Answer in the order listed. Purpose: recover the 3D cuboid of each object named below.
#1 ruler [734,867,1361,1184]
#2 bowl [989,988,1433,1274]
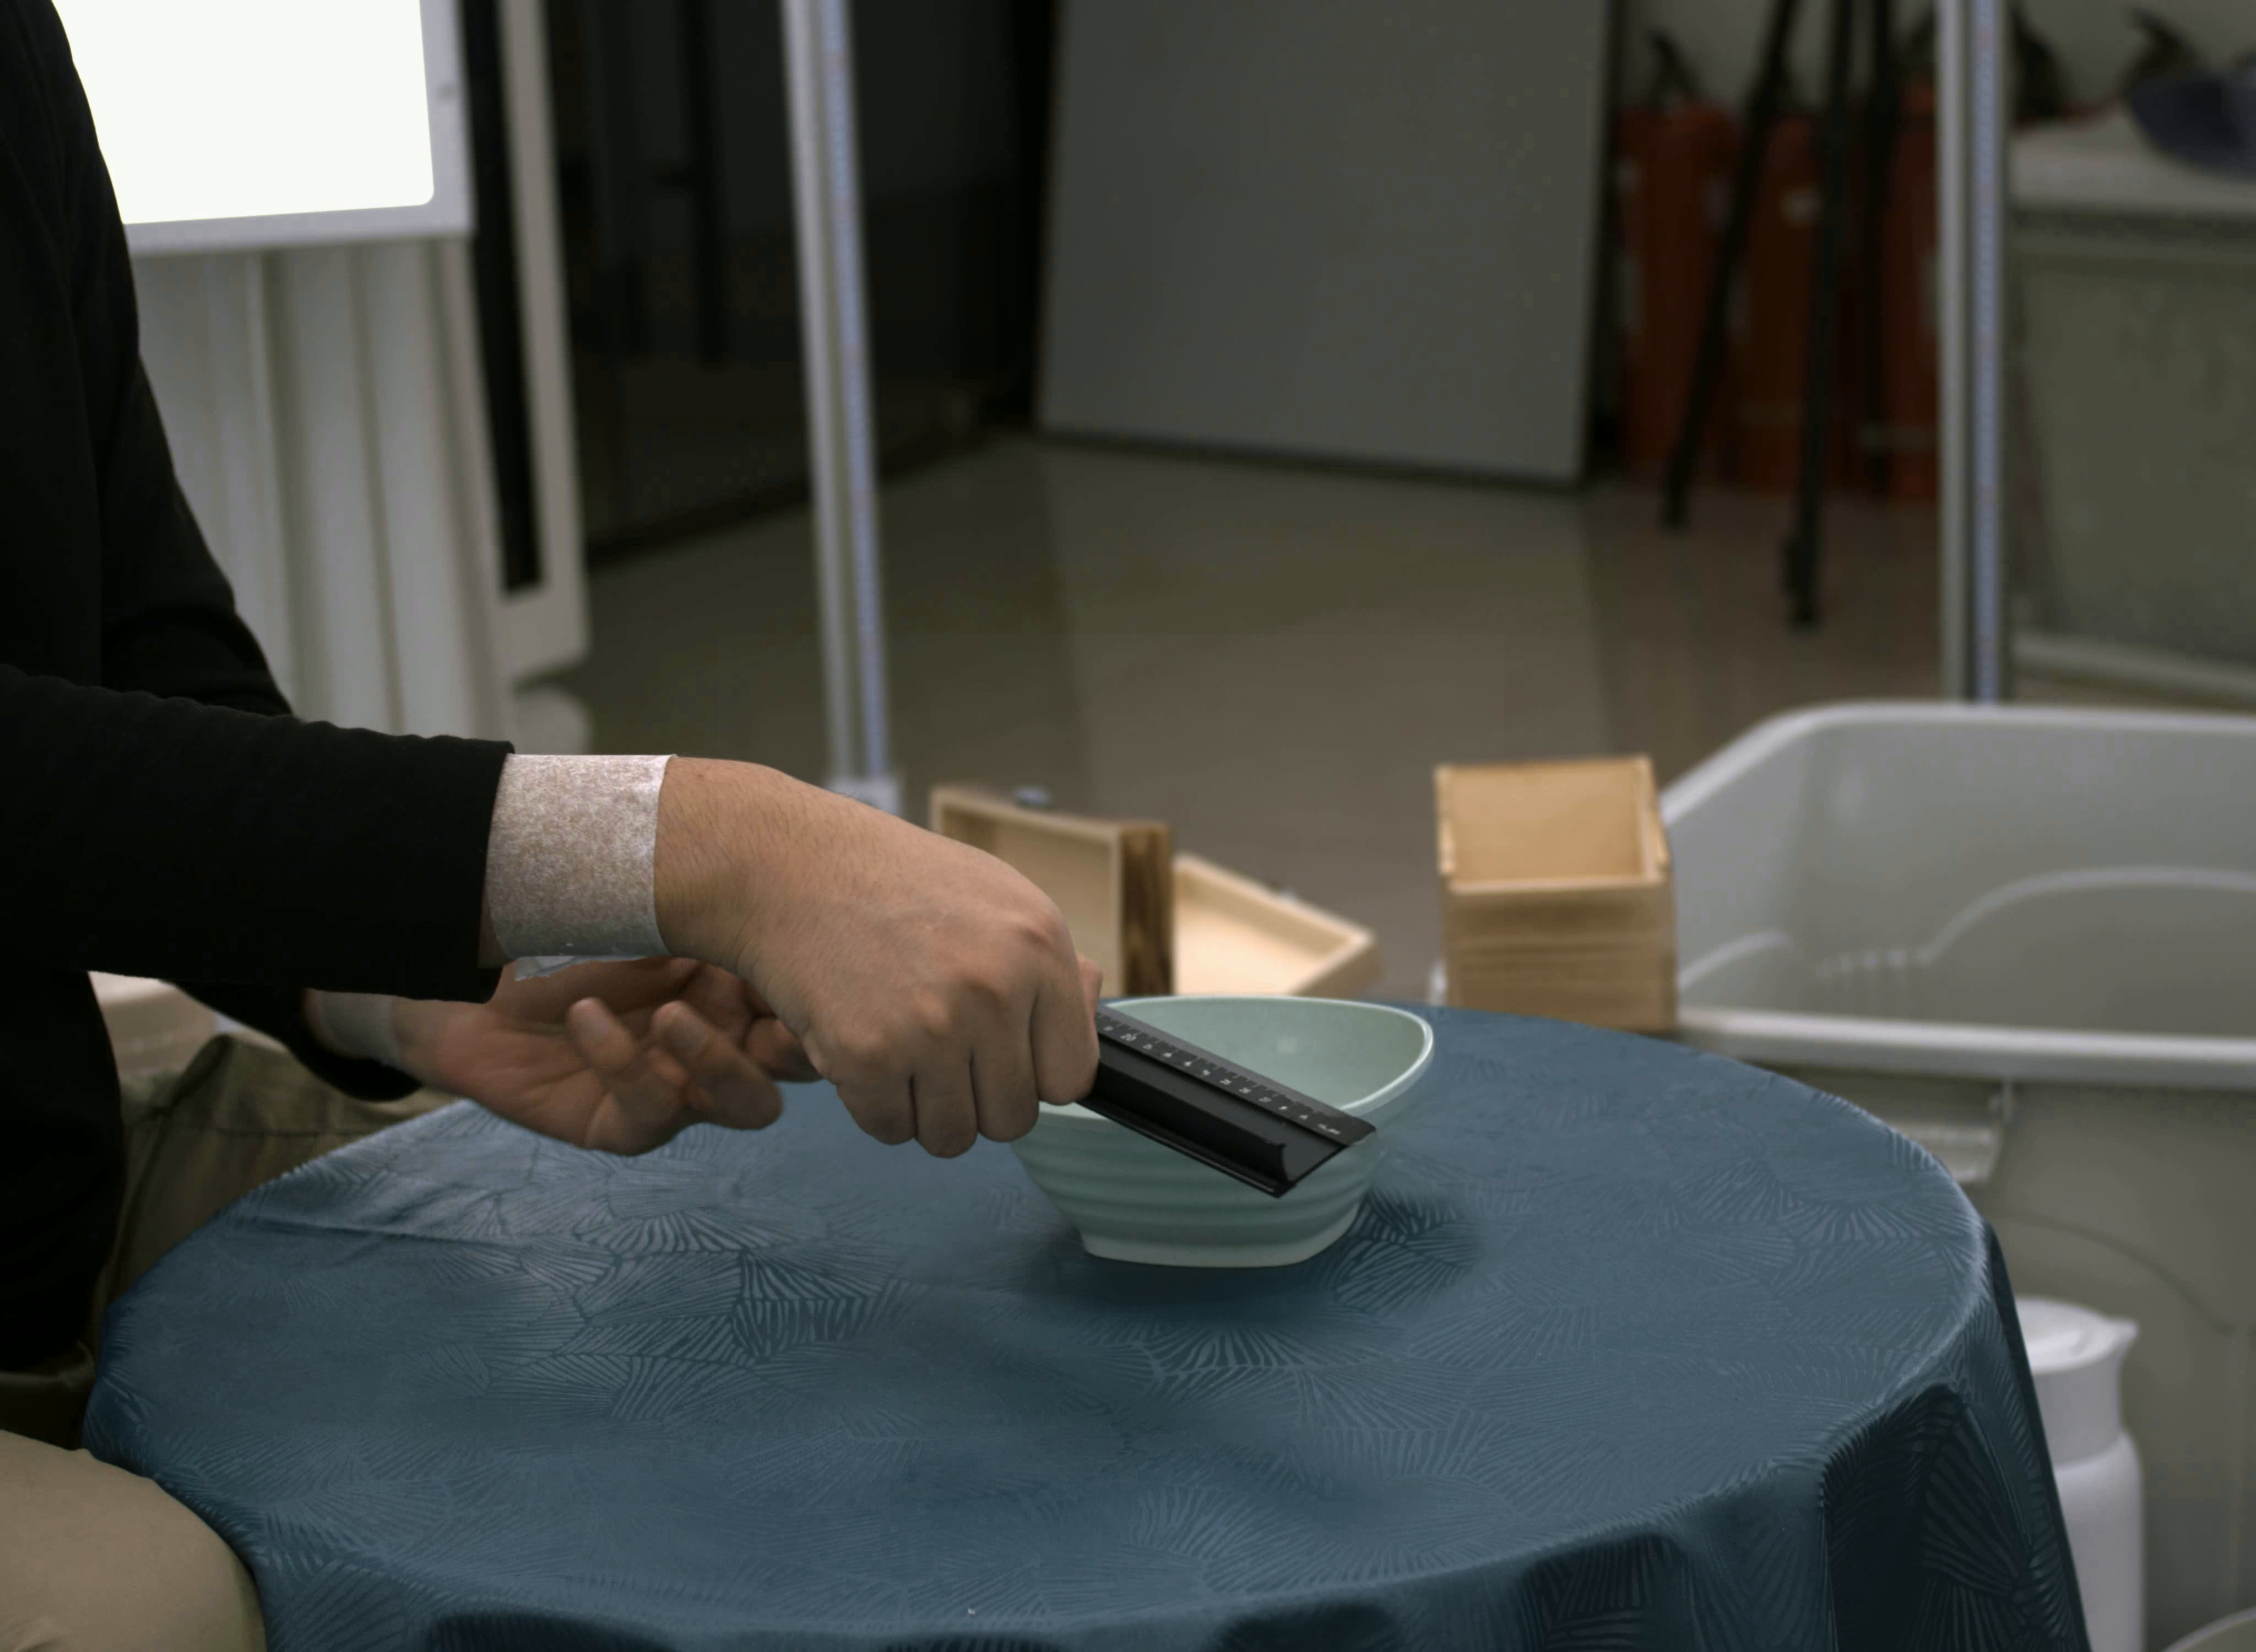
[{"bbox_3d":[-0.032,0.051,1.640,0.039,0.017,0.316,-30,27,-23],"label":"ruler"},{"bbox_3d":[0.028,0.101,1.724,0.149,0.059,0.152,-2,15,0],"label":"bowl"}]
